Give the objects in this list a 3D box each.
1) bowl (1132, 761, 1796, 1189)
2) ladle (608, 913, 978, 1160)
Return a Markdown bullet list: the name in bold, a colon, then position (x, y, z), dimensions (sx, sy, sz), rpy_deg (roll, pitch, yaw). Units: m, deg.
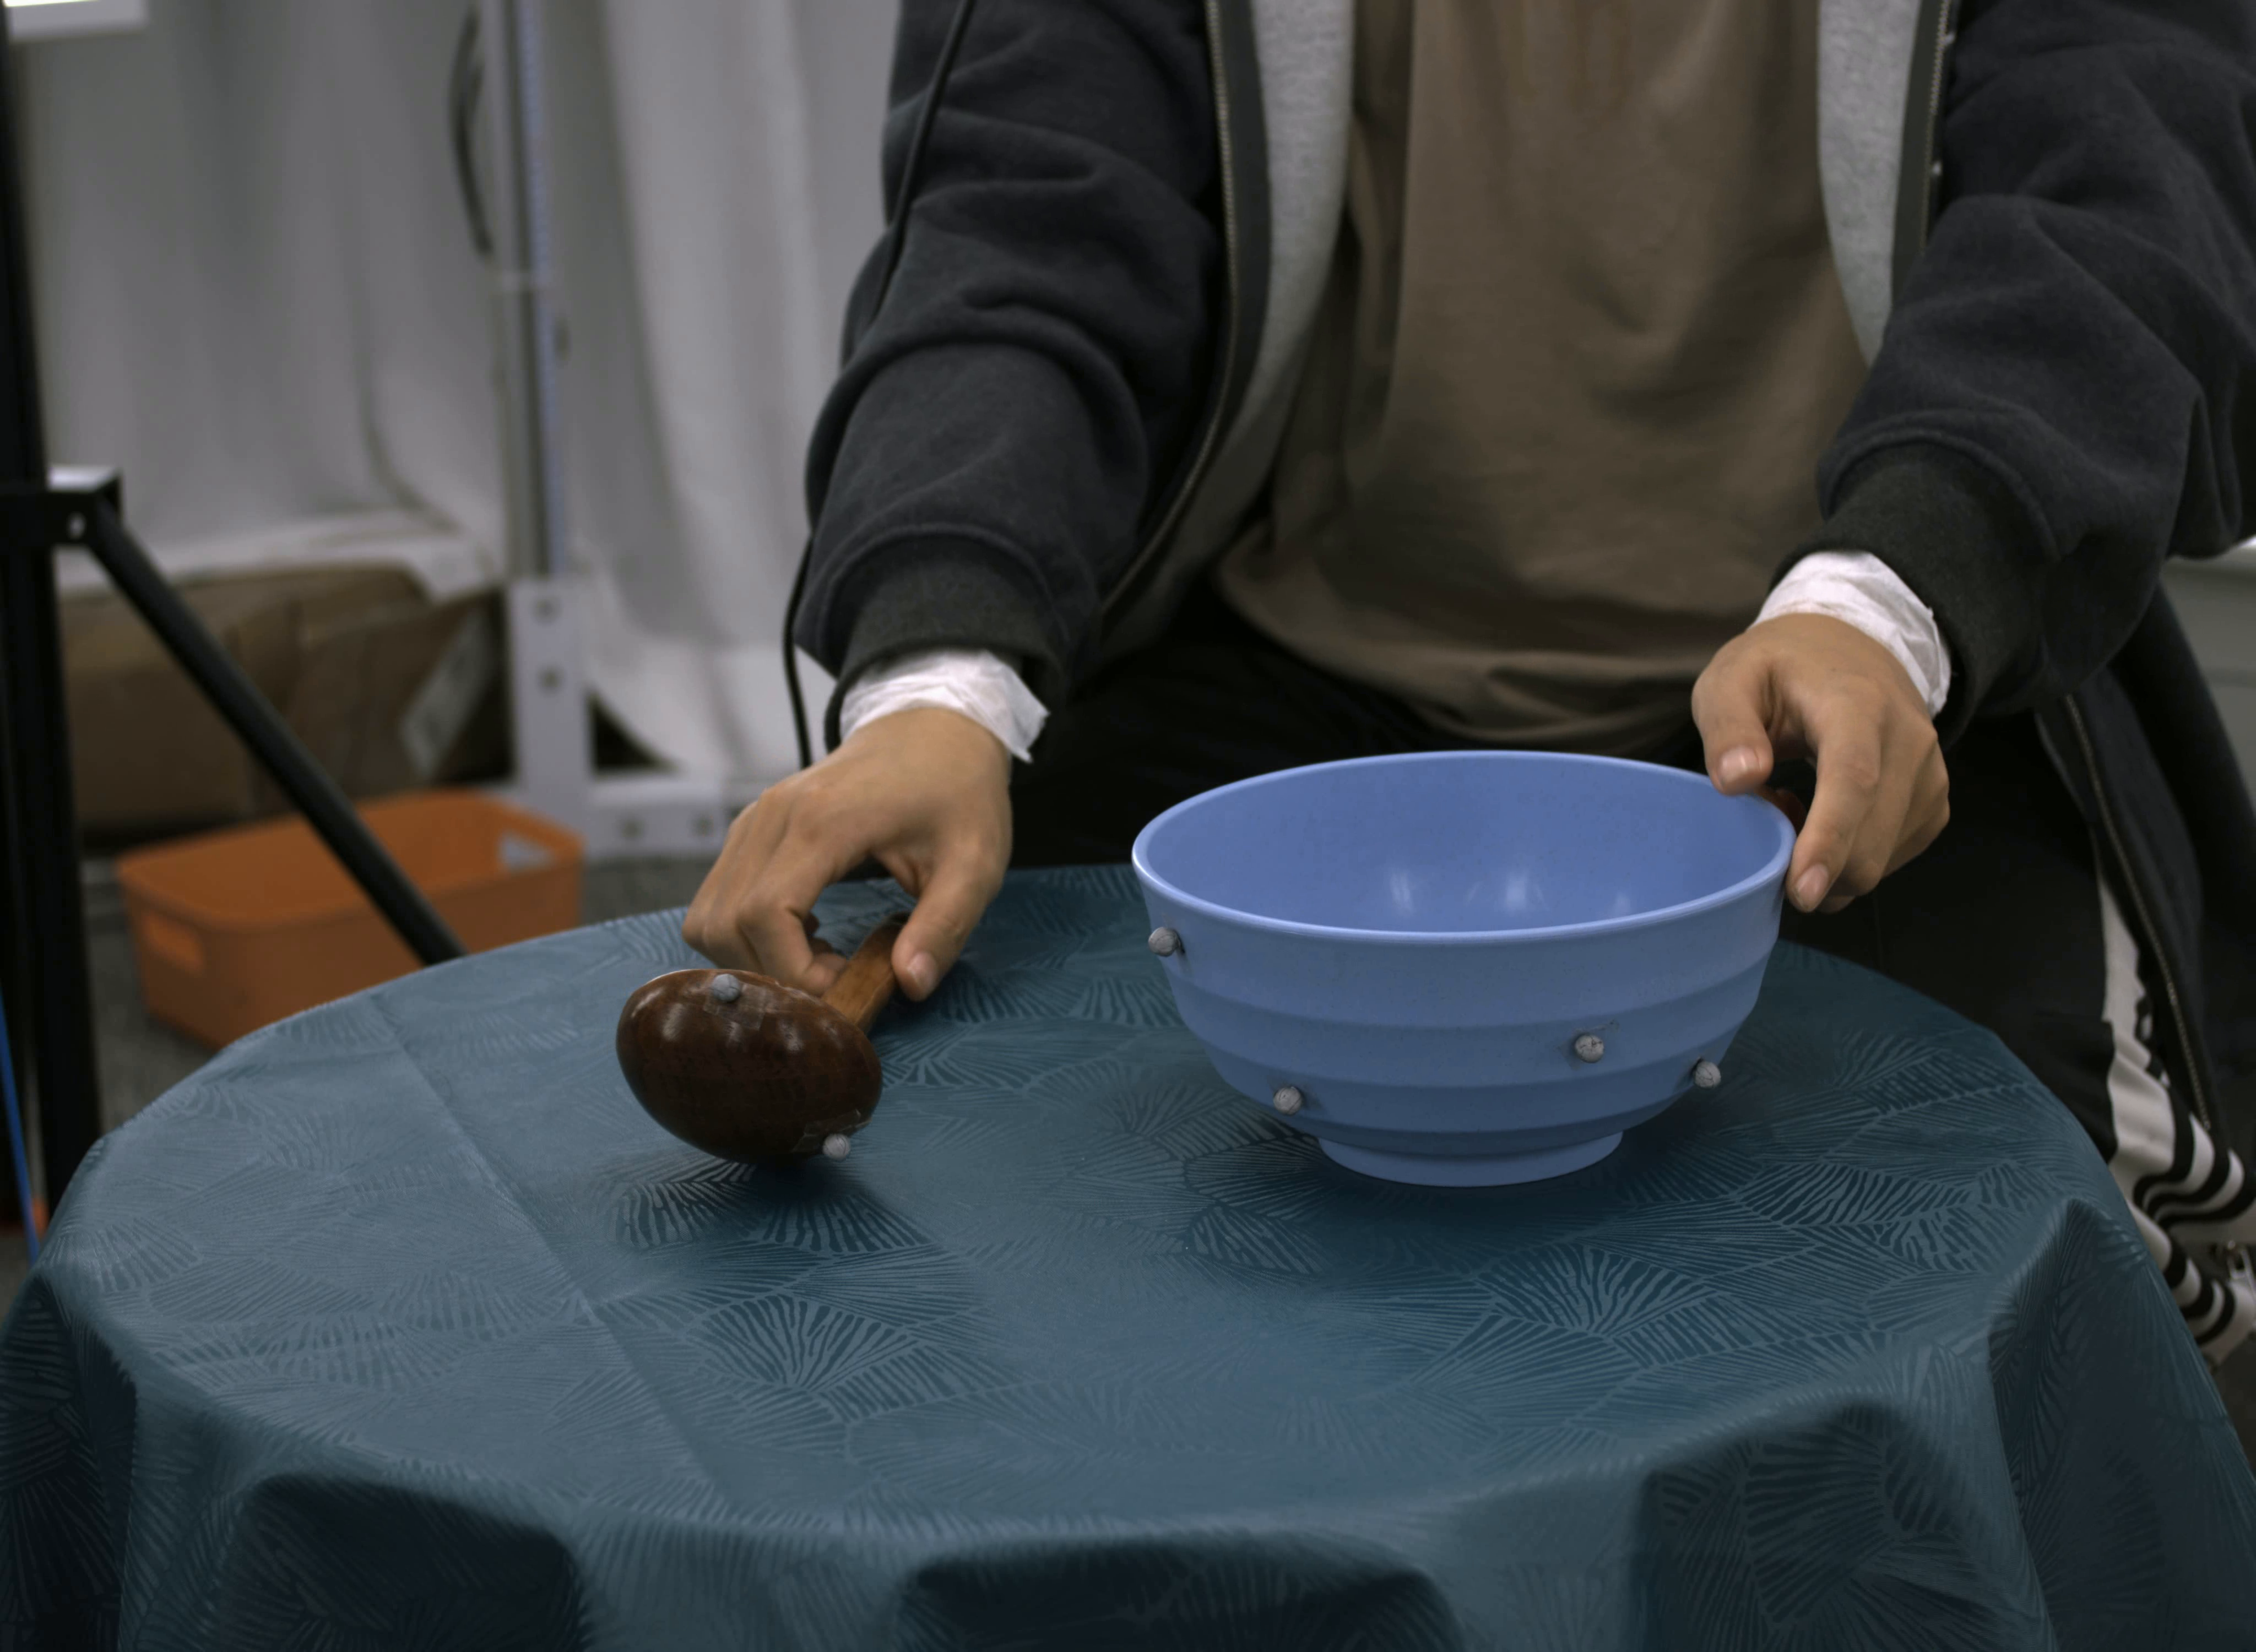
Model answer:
- **bowl**: position (0.100, 0.049, 1.580), dimensions (0.195, 0.095, 0.197), rpy_deg (-3, 14, -1)
- **ladle**: position (-0.091, 0.041, 1.668), dimensions (0.082, 0.077, 0.272), rpy_deg (12, 18, 10)
